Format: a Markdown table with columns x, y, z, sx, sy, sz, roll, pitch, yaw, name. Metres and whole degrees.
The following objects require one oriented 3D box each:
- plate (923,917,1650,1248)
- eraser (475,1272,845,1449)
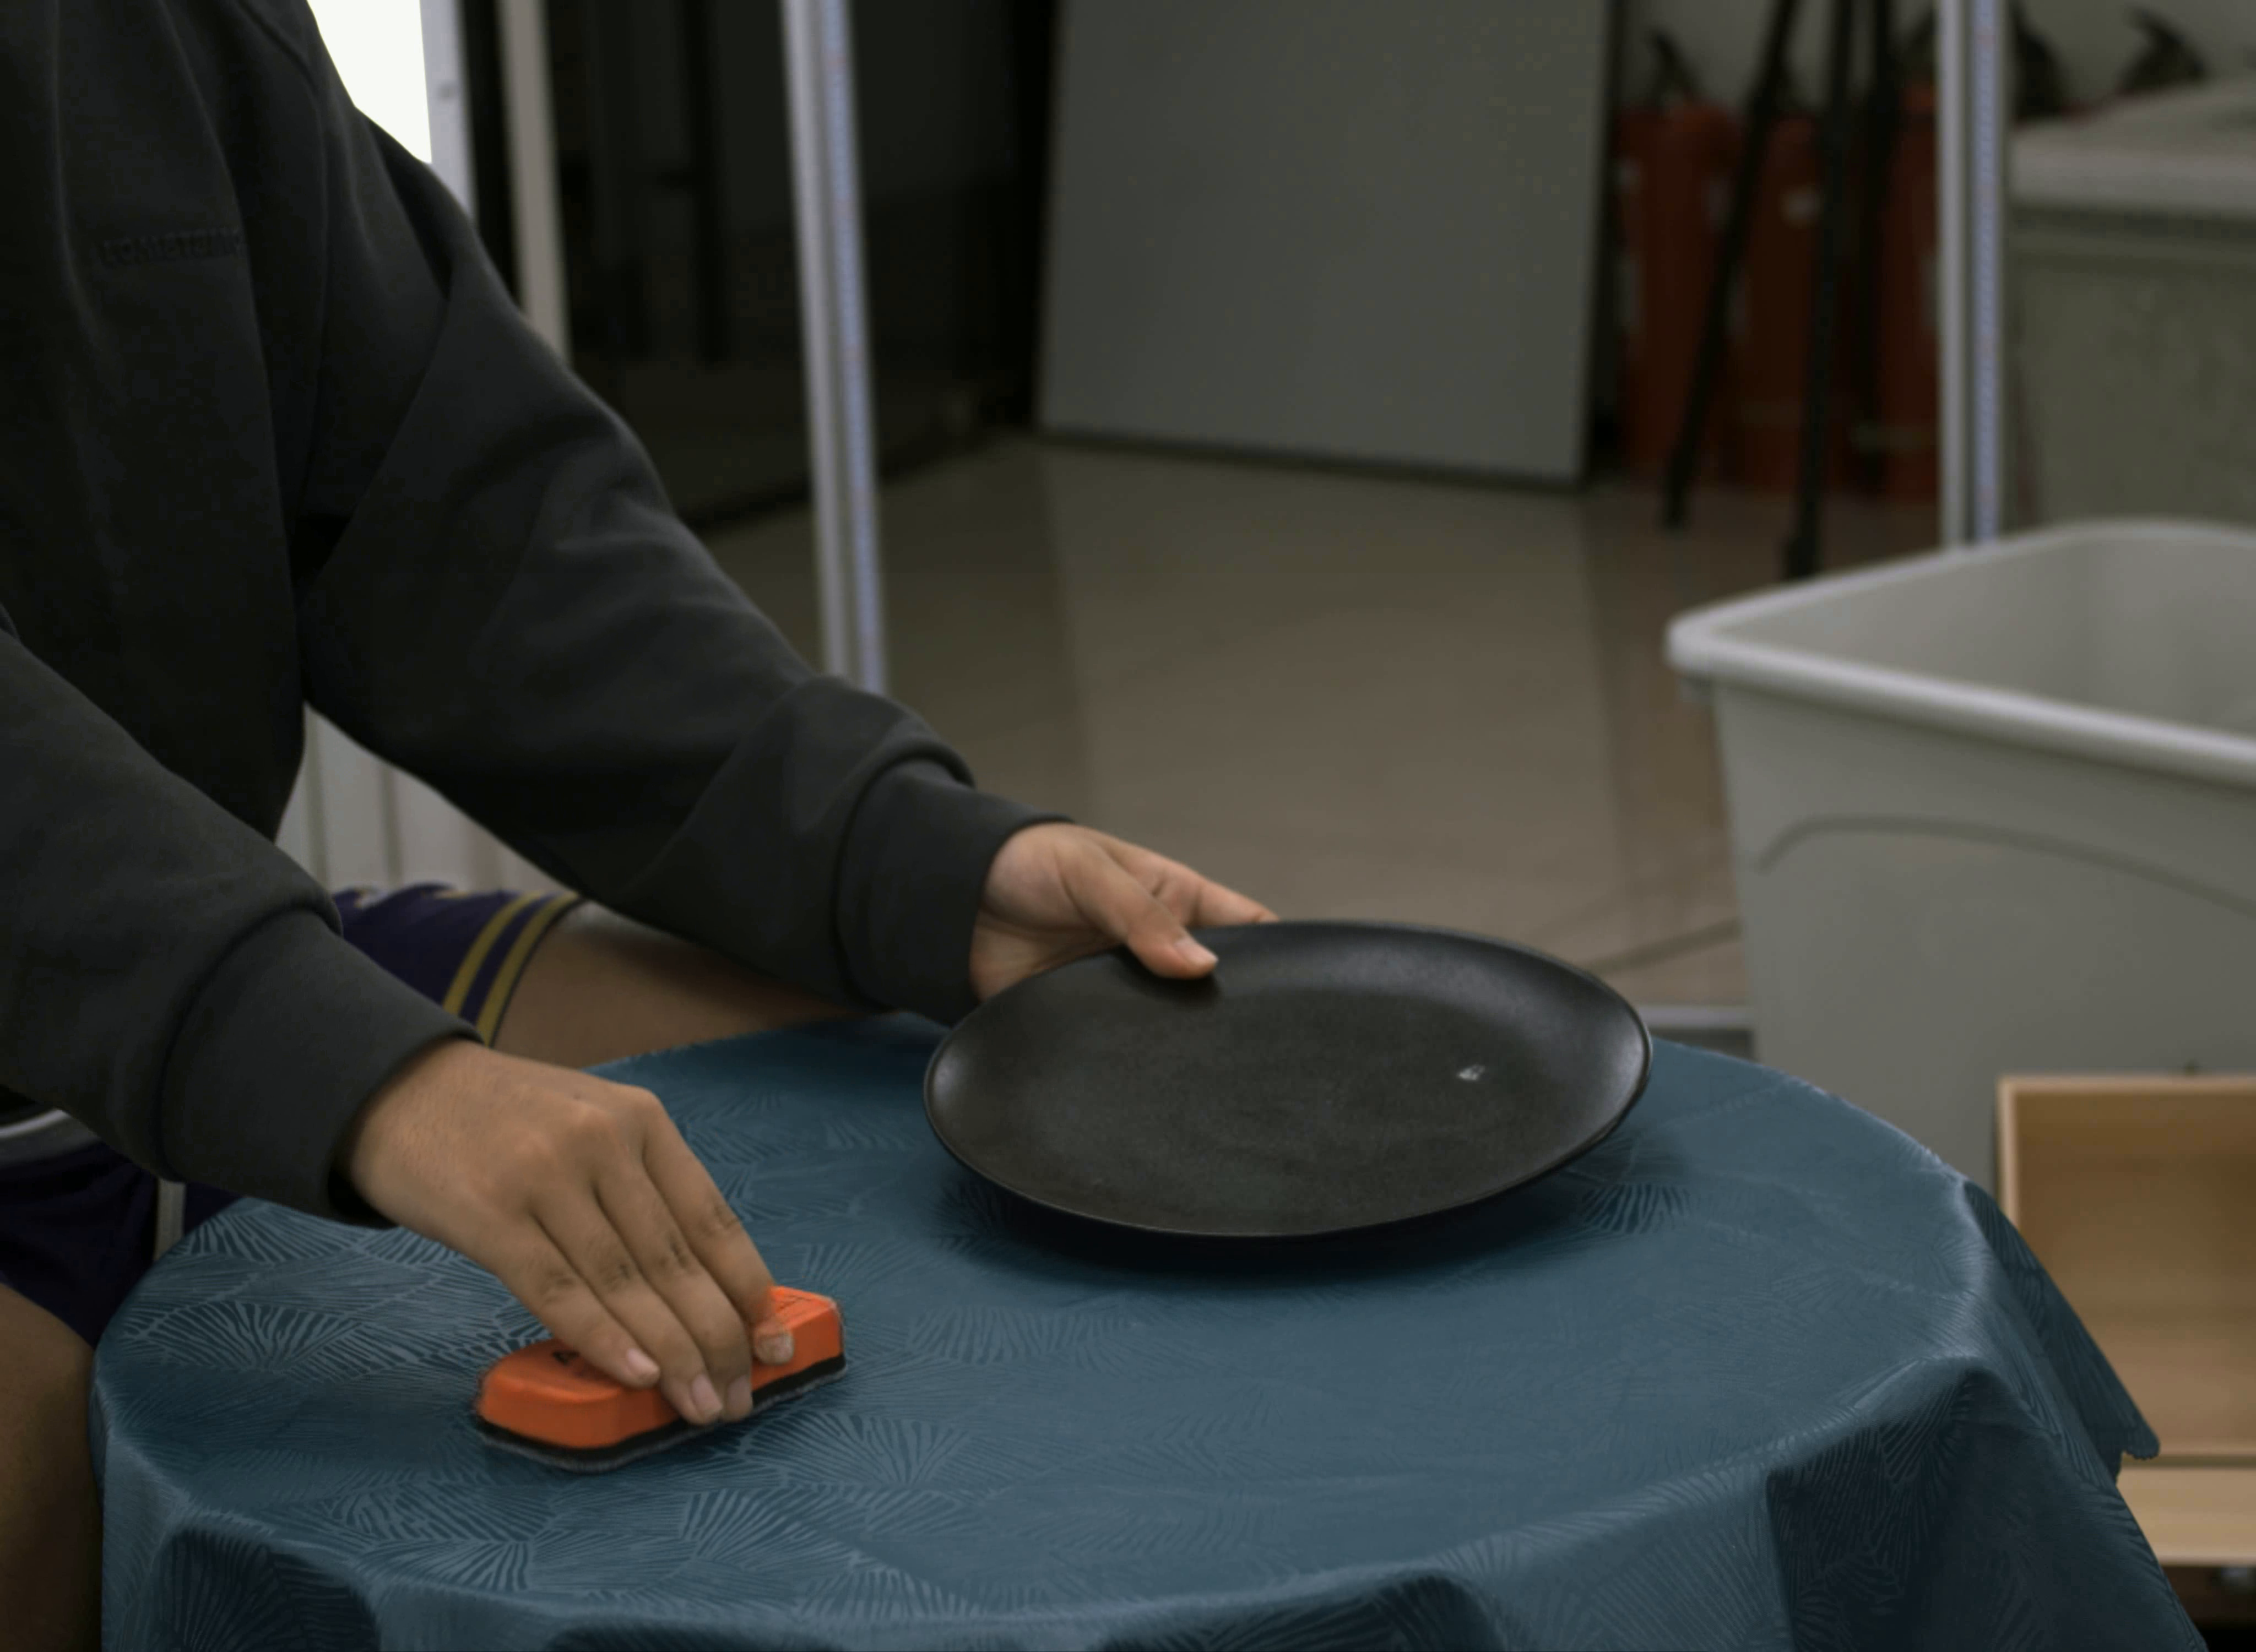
| x | y | z | sx | sy | sz | roll | pitch | yaw | name |
| --- | --- | --- | --- | --- | --- | --- | --- | --- | --- |
| 0.052 | 0.088 | 1.776 | 0.241 | 0.023 | 0.245 | -5 | 22 | 1 | plate |
| -0.137 | 0.157 | 1.593 | 0.059 | 0.023 | 0.106 | 7 | 14 | 43 | eraser |
